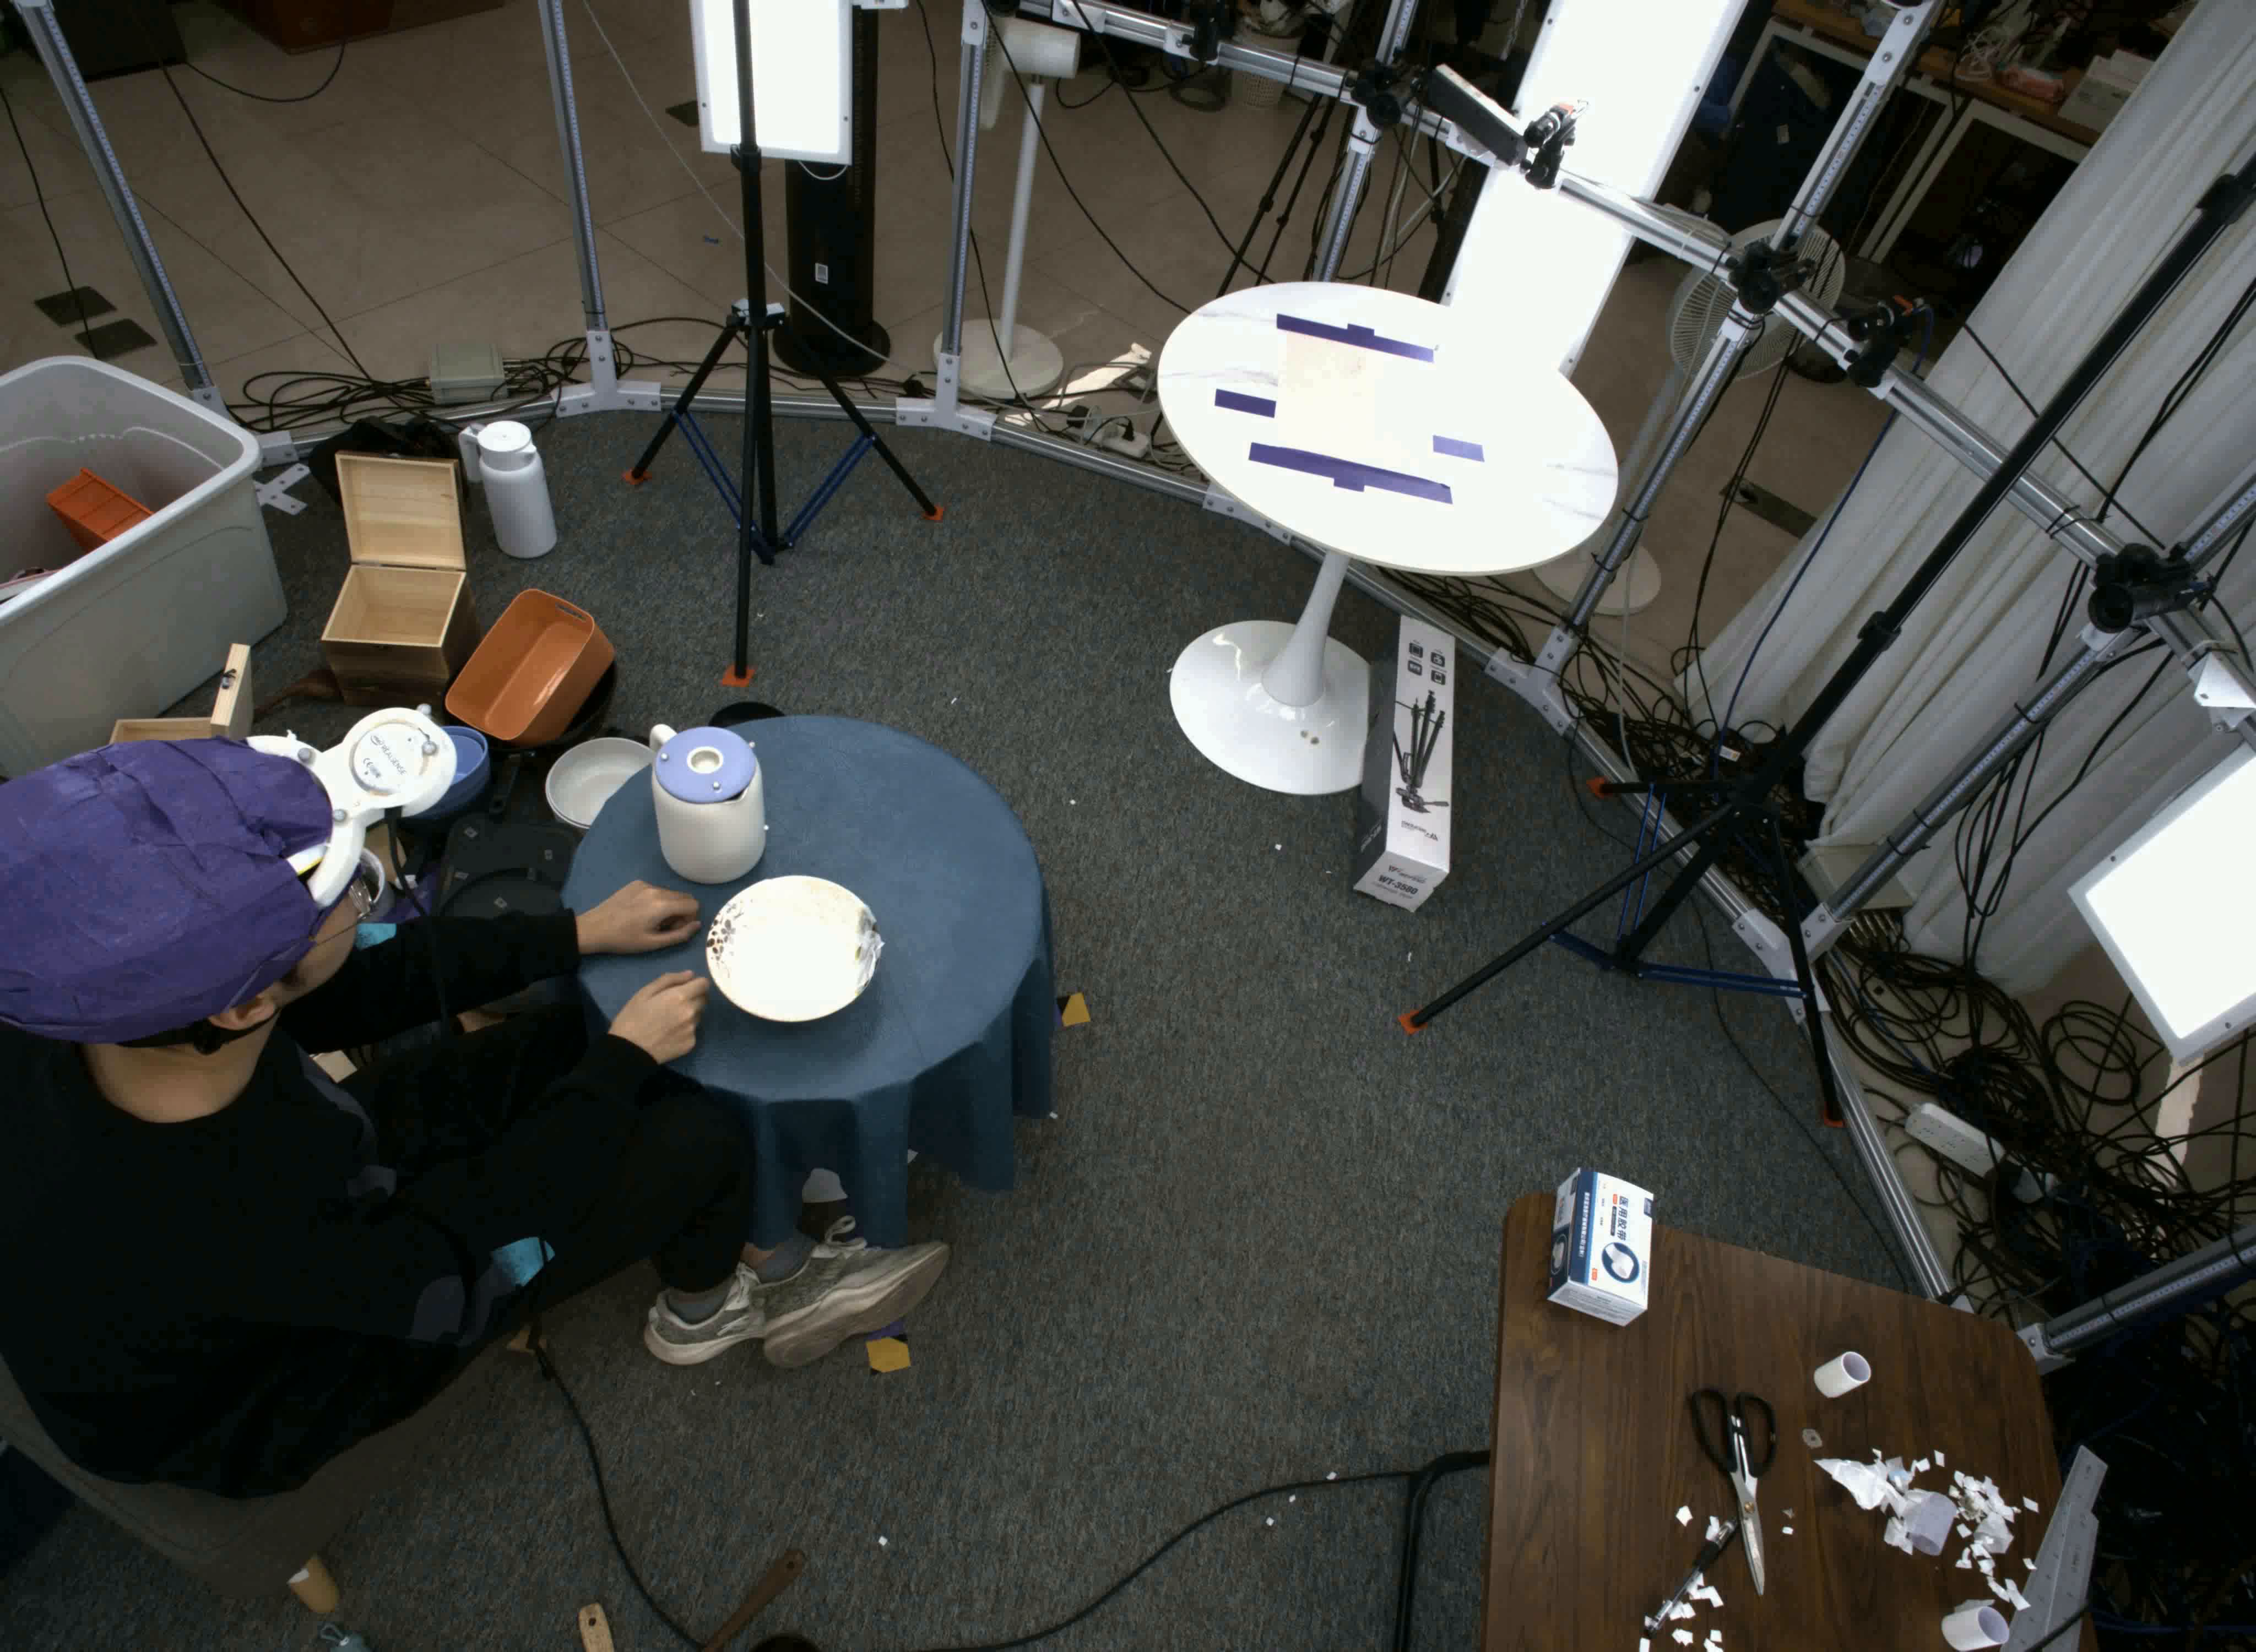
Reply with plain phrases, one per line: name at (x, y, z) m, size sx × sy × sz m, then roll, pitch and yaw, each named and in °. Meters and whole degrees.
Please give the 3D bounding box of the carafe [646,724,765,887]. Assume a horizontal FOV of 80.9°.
carafe at (-0.542, -0.040, 1.618) m, size 0.186 × 0.187 × 0.132 m, roll 37°, pitch 53°, yaw 18°

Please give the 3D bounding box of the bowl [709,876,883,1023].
bowl at (-0.398, 0.163, 1.568) m, size 0.203 × 0.079 × 0.200 m, roll 6°, pitch 54°, yaw -7°
